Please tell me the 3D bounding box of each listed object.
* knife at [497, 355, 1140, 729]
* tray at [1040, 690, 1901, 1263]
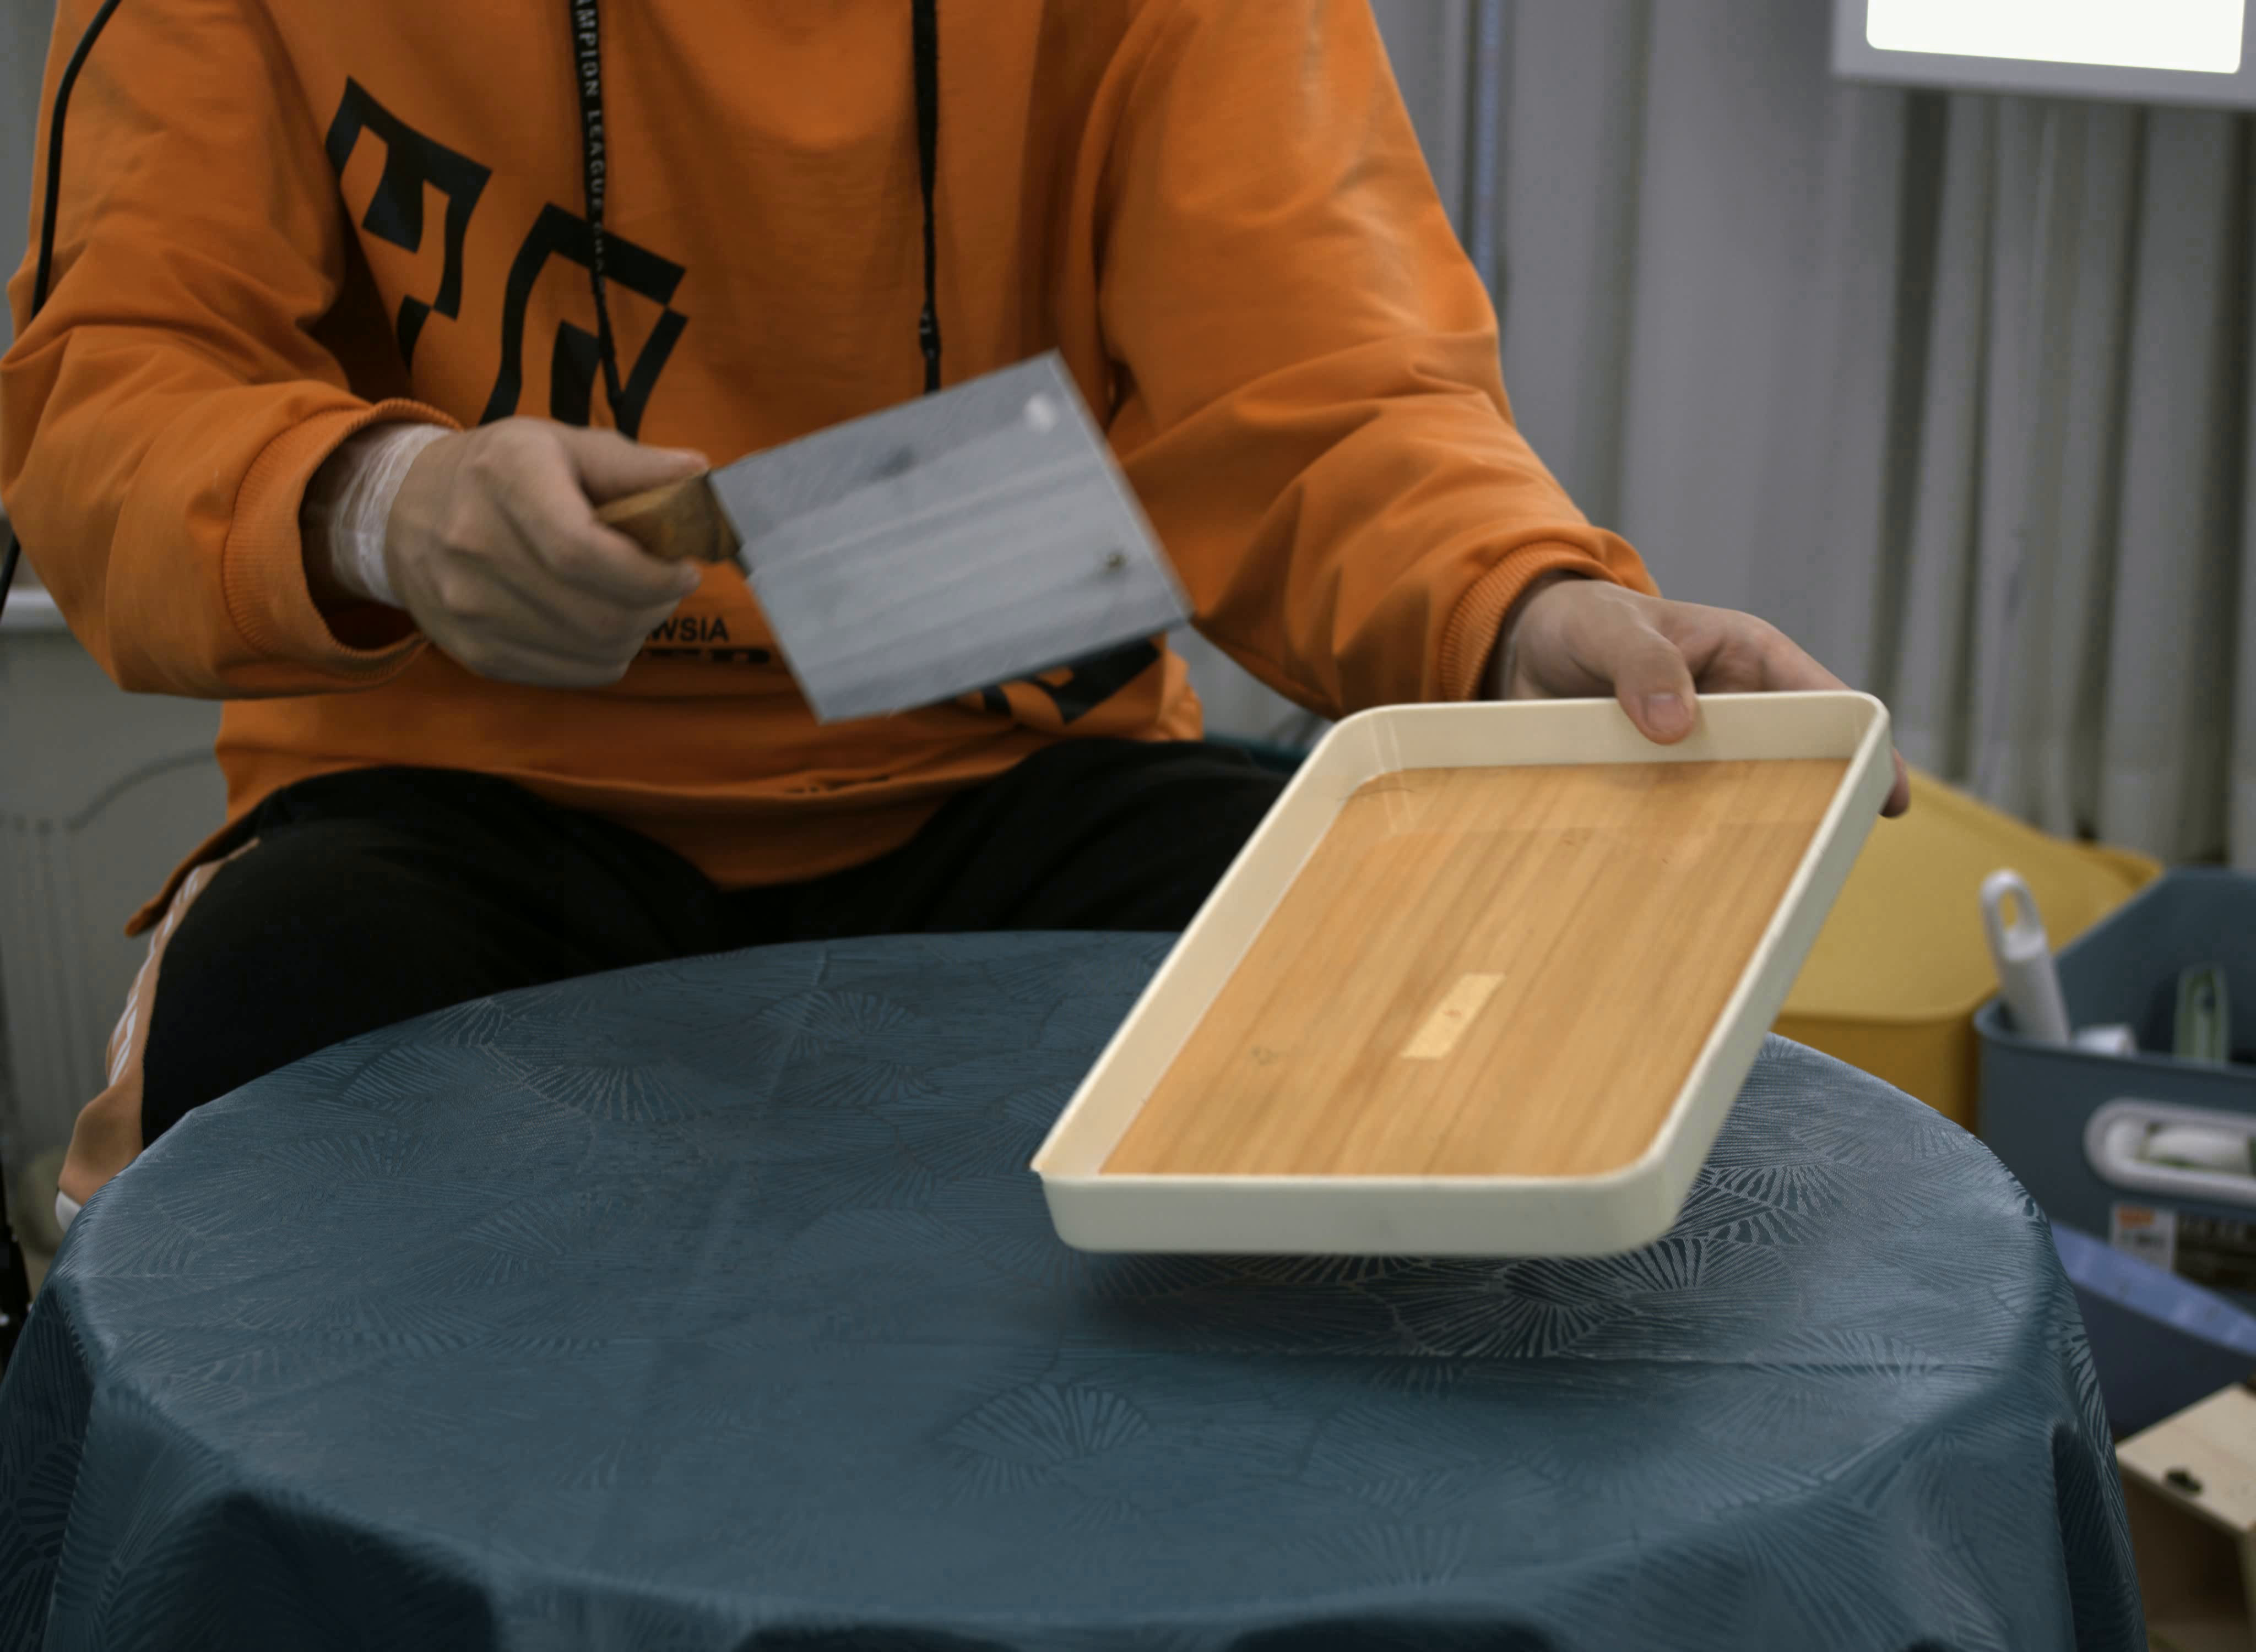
[{"bbox_3d":[-0.097,-0.075,1.621,0.021,0.093,0.303,-37,14,-36],"label":"knife"},{"bbox_3d":[0.110,0.041,1.588,0.190,0.028,0.299,-1,28,24],"label":"tray"}]
